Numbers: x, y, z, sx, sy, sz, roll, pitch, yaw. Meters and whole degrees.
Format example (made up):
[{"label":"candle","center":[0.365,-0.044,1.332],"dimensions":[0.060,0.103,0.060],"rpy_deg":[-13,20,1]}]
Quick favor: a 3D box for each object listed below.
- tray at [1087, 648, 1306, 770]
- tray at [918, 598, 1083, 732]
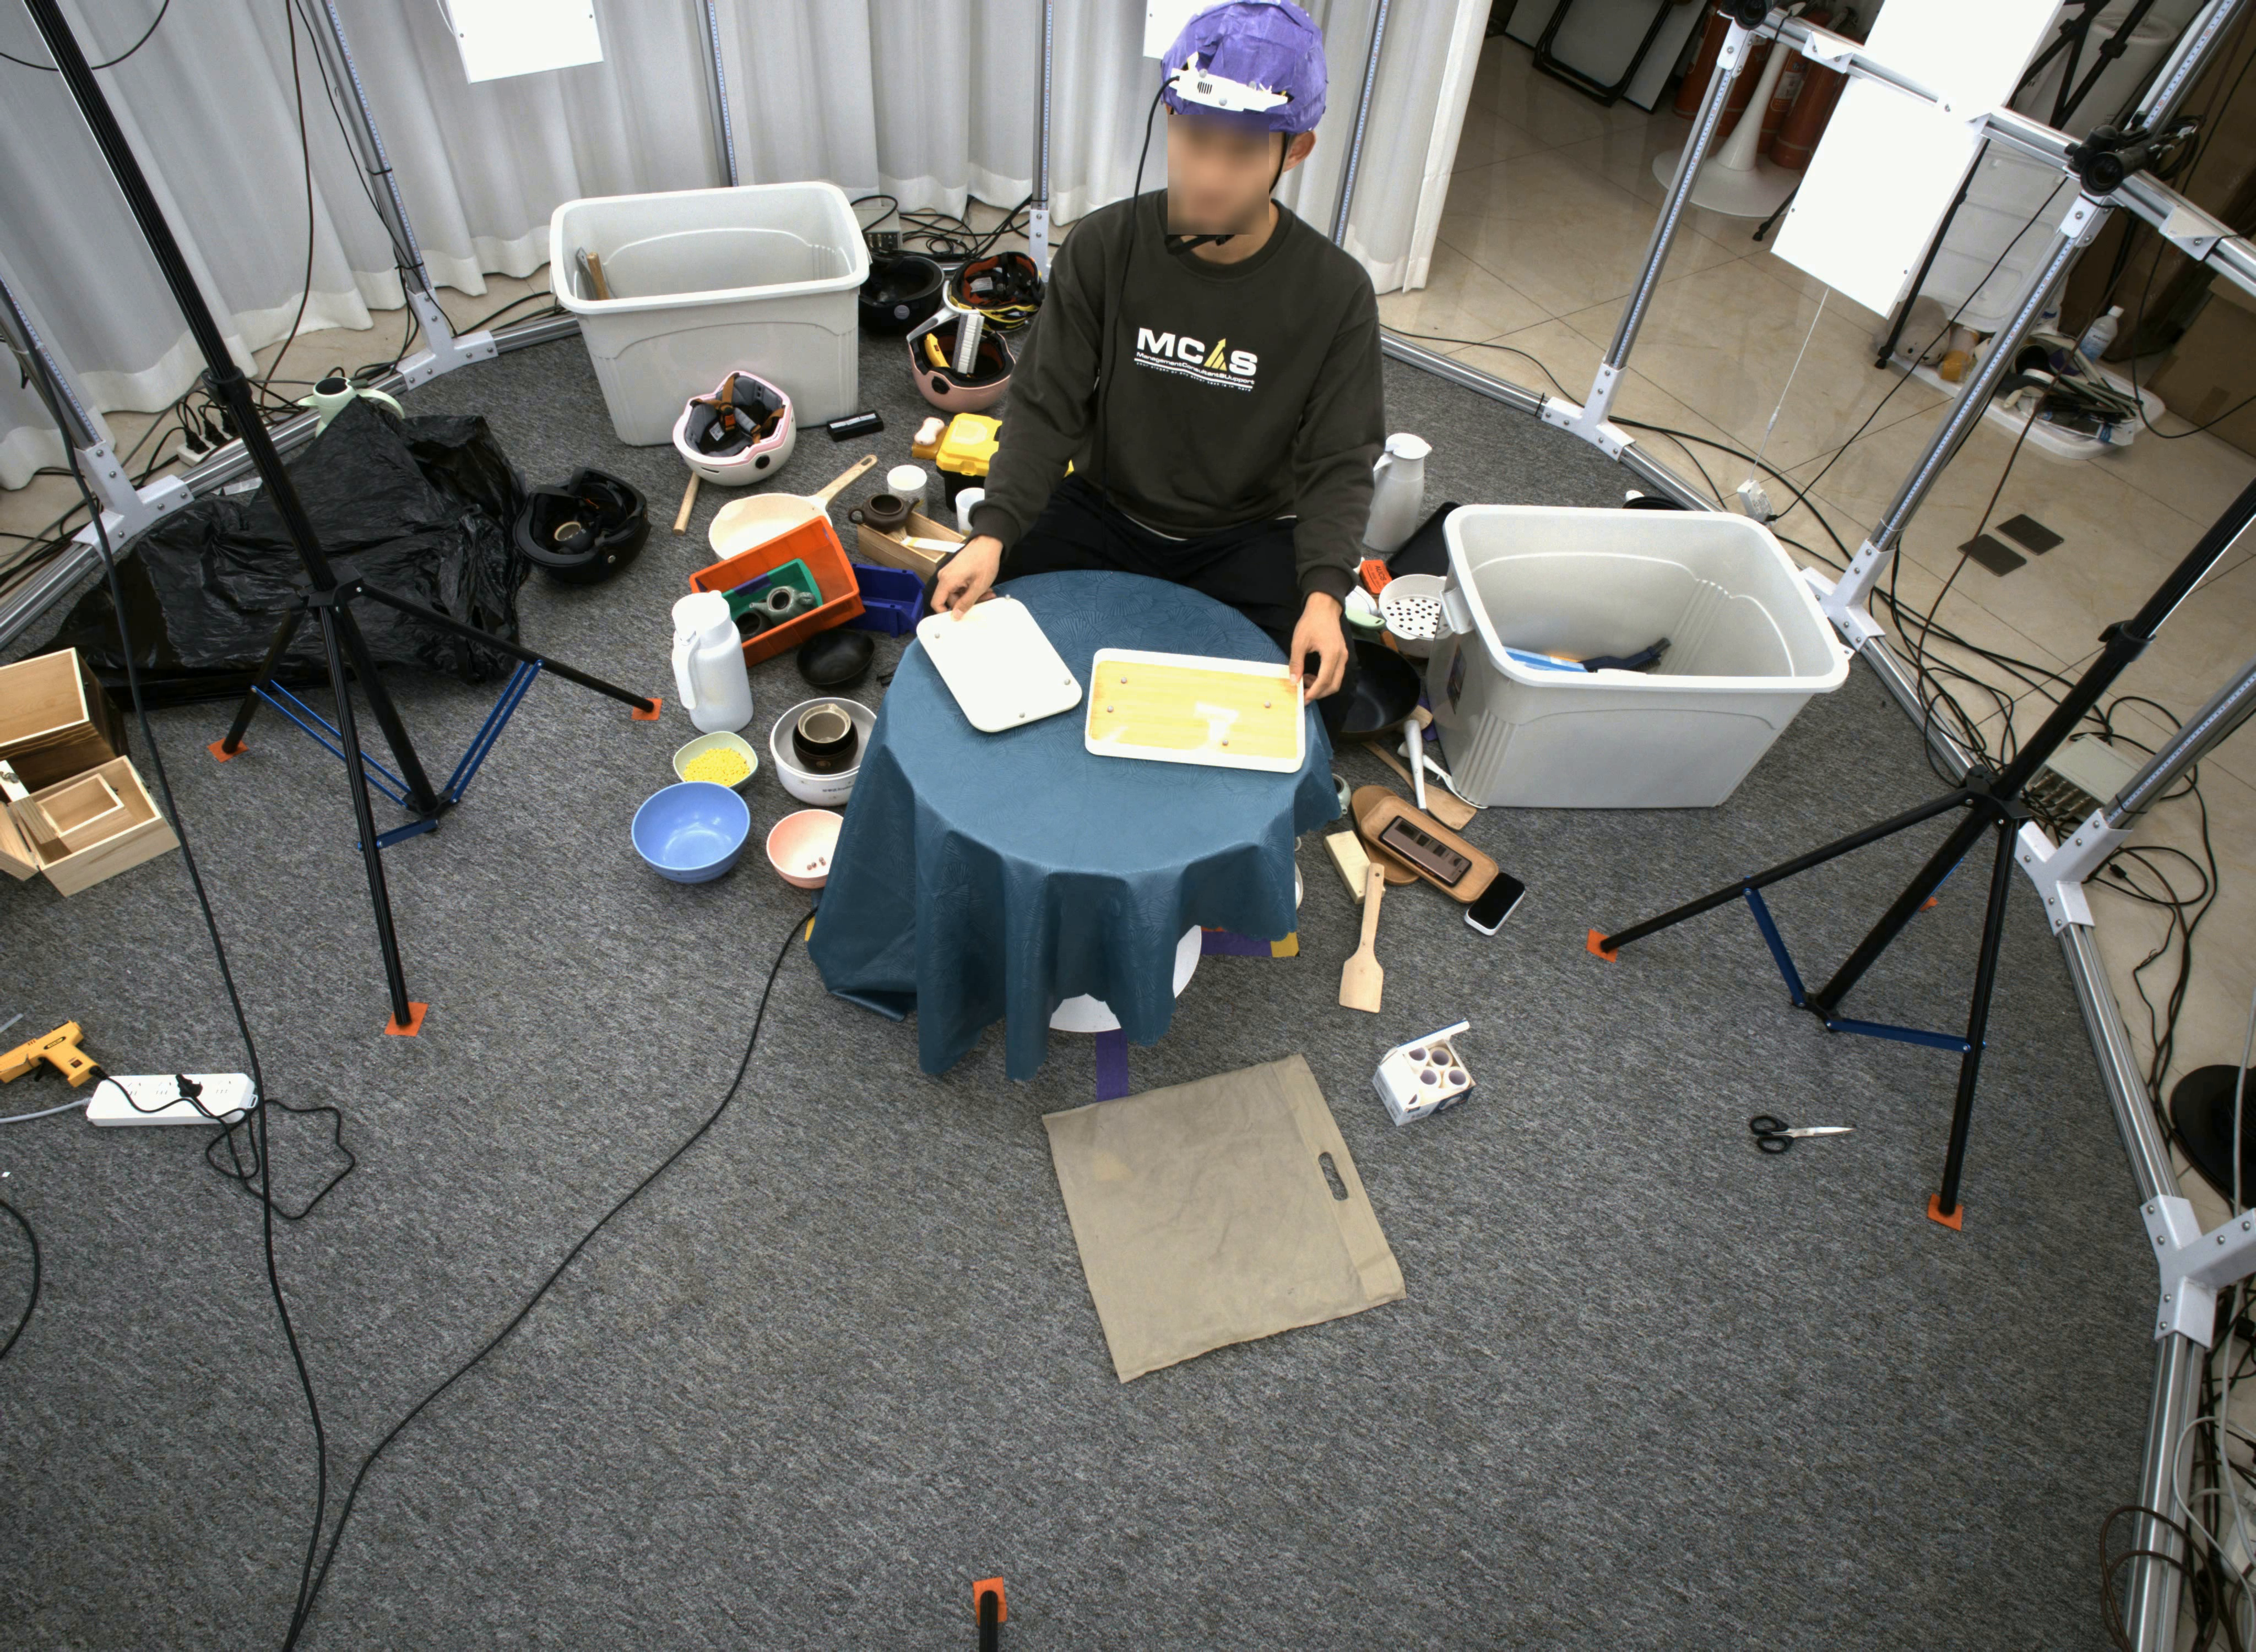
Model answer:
[{"label":"tray","center":[0.097,-0.166,1.799],"dimensions":[0.300,0.027,0.196],"rpy_deg":[5,48,0]},{"label":"tray","center":[-0.183,-0.232,1.834],"dimensions":[0.171,0.017,0.245],"rpy_deg":[-19,55,-21]}]
